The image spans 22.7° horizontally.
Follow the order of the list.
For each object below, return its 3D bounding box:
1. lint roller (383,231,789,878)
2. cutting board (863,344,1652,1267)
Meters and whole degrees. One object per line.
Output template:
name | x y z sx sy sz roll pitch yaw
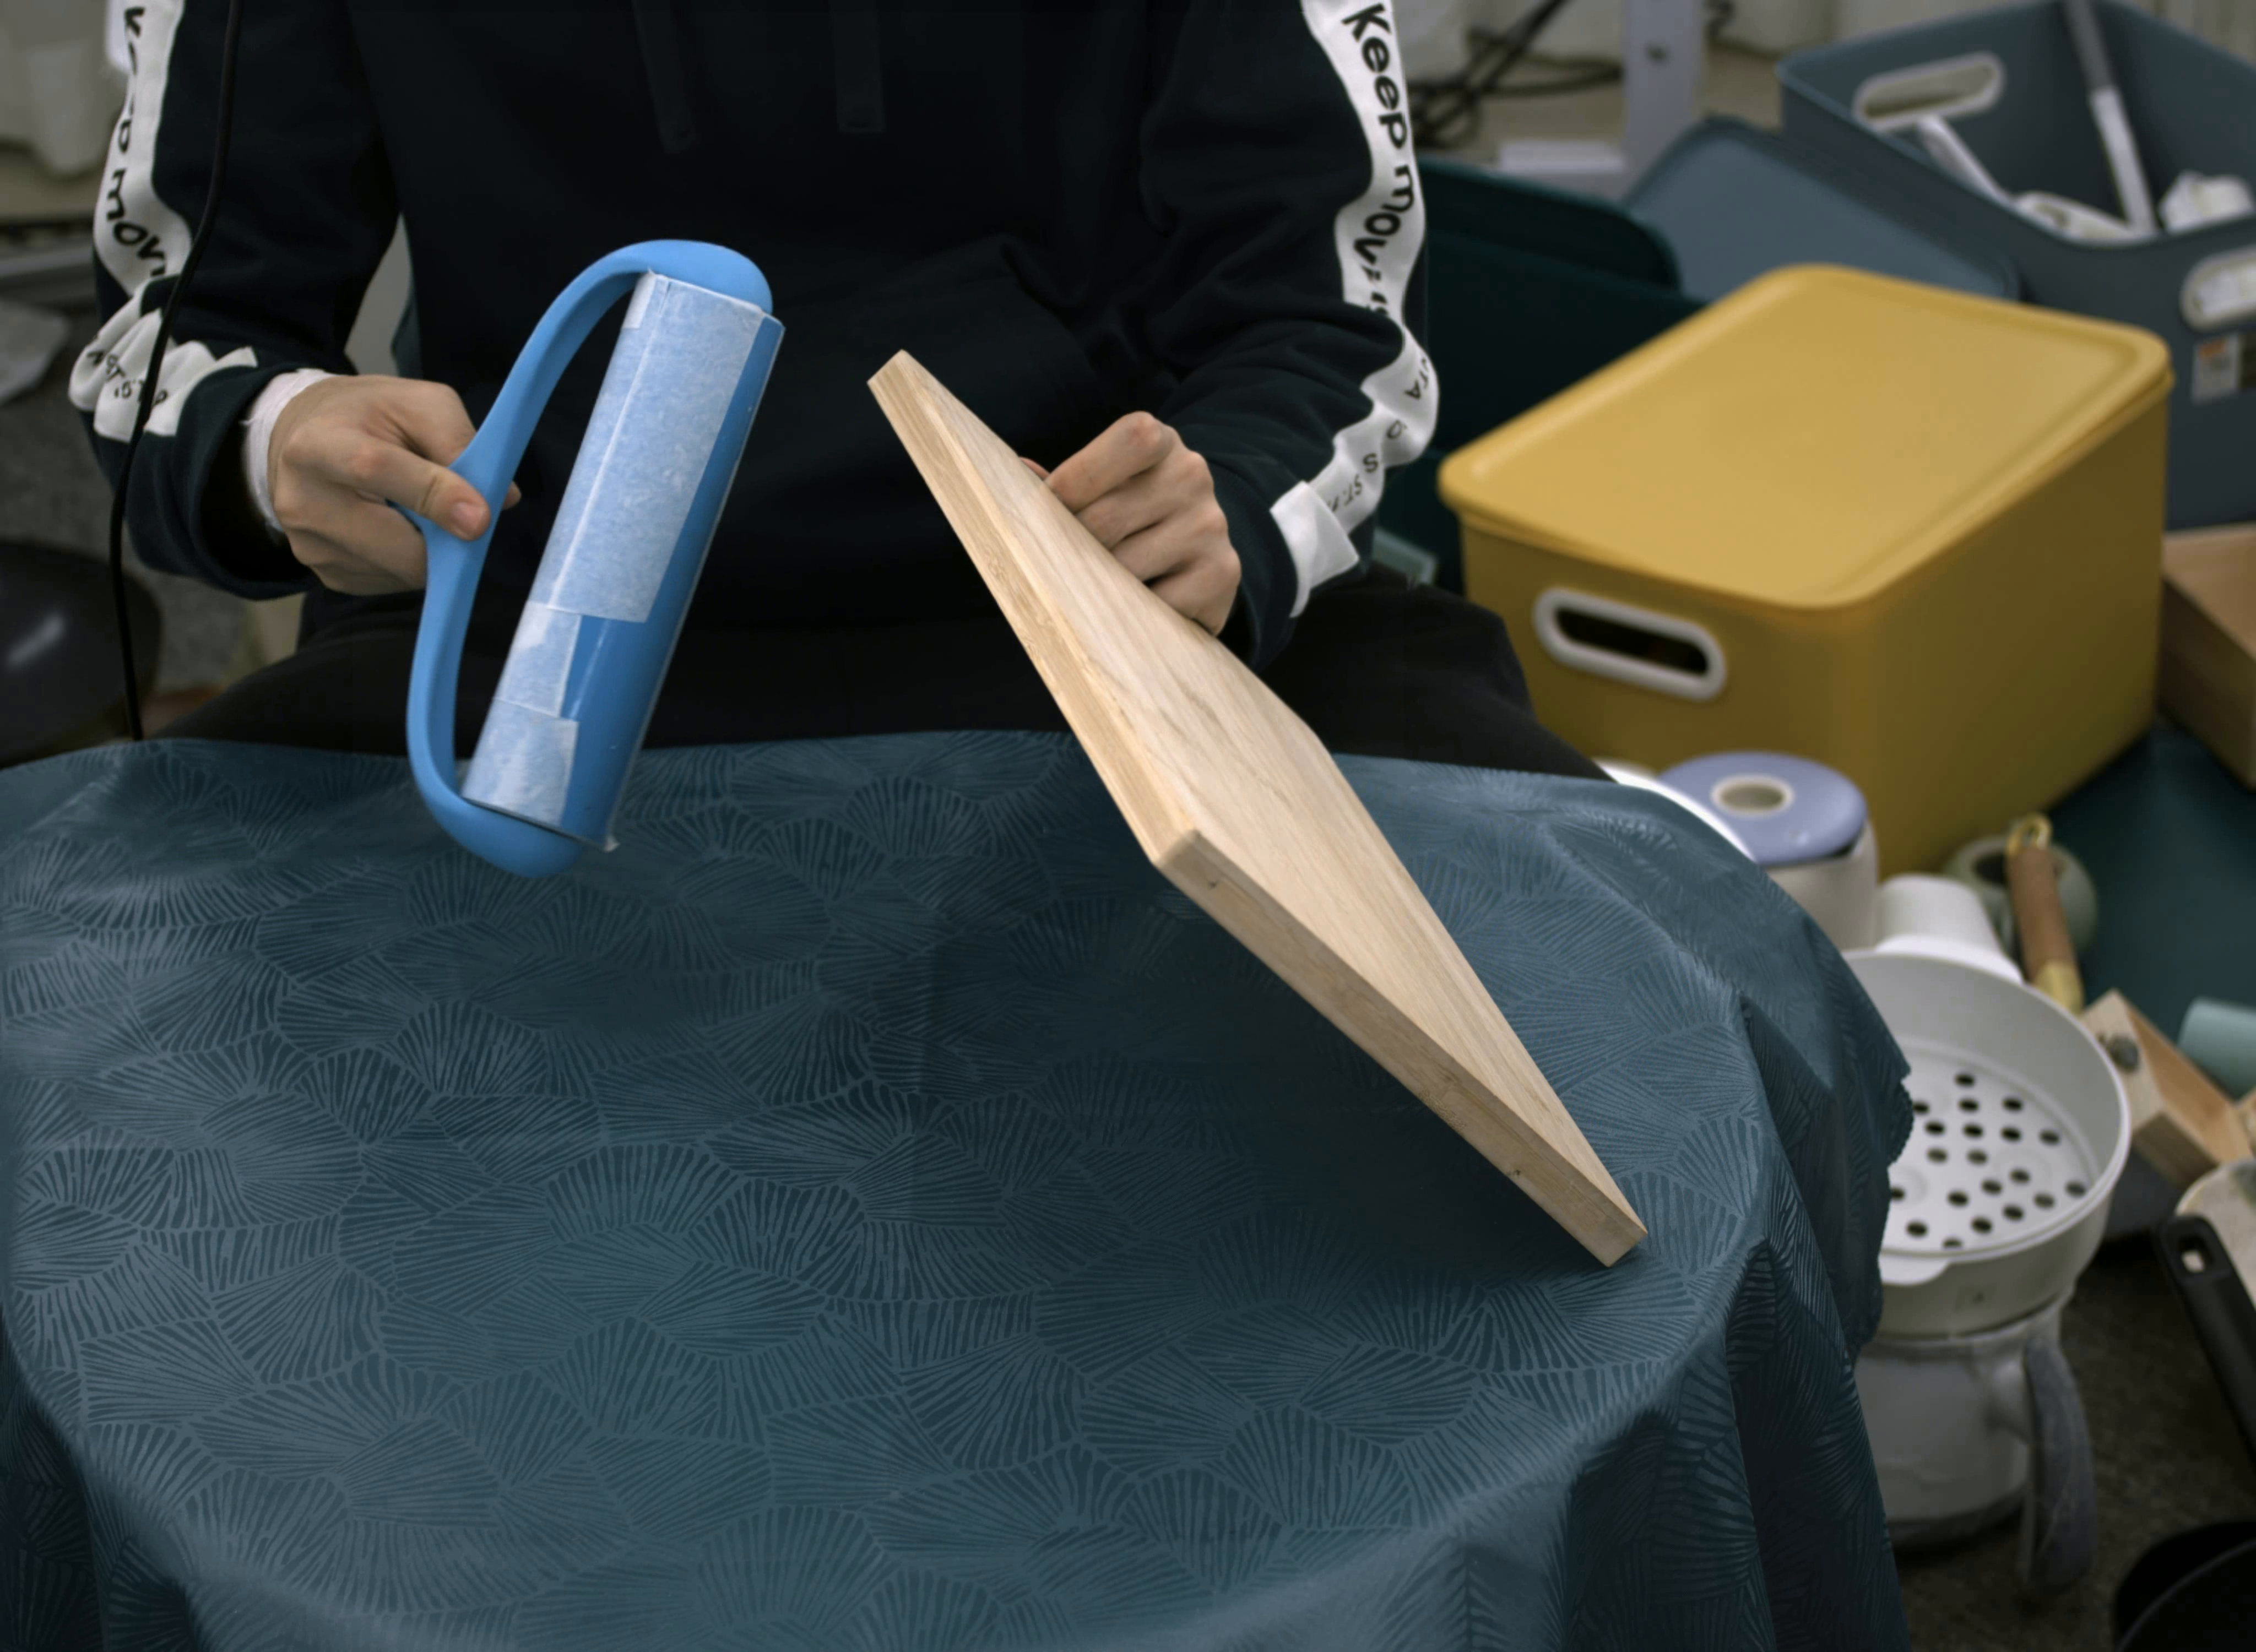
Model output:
lint roller | -0.216 -0.102 1.978 0.179 0.231 0.068 10 -8 39
cutting board | 0.037 -0.013 1.884 0.023 0.249 0.352 -43 34 8
